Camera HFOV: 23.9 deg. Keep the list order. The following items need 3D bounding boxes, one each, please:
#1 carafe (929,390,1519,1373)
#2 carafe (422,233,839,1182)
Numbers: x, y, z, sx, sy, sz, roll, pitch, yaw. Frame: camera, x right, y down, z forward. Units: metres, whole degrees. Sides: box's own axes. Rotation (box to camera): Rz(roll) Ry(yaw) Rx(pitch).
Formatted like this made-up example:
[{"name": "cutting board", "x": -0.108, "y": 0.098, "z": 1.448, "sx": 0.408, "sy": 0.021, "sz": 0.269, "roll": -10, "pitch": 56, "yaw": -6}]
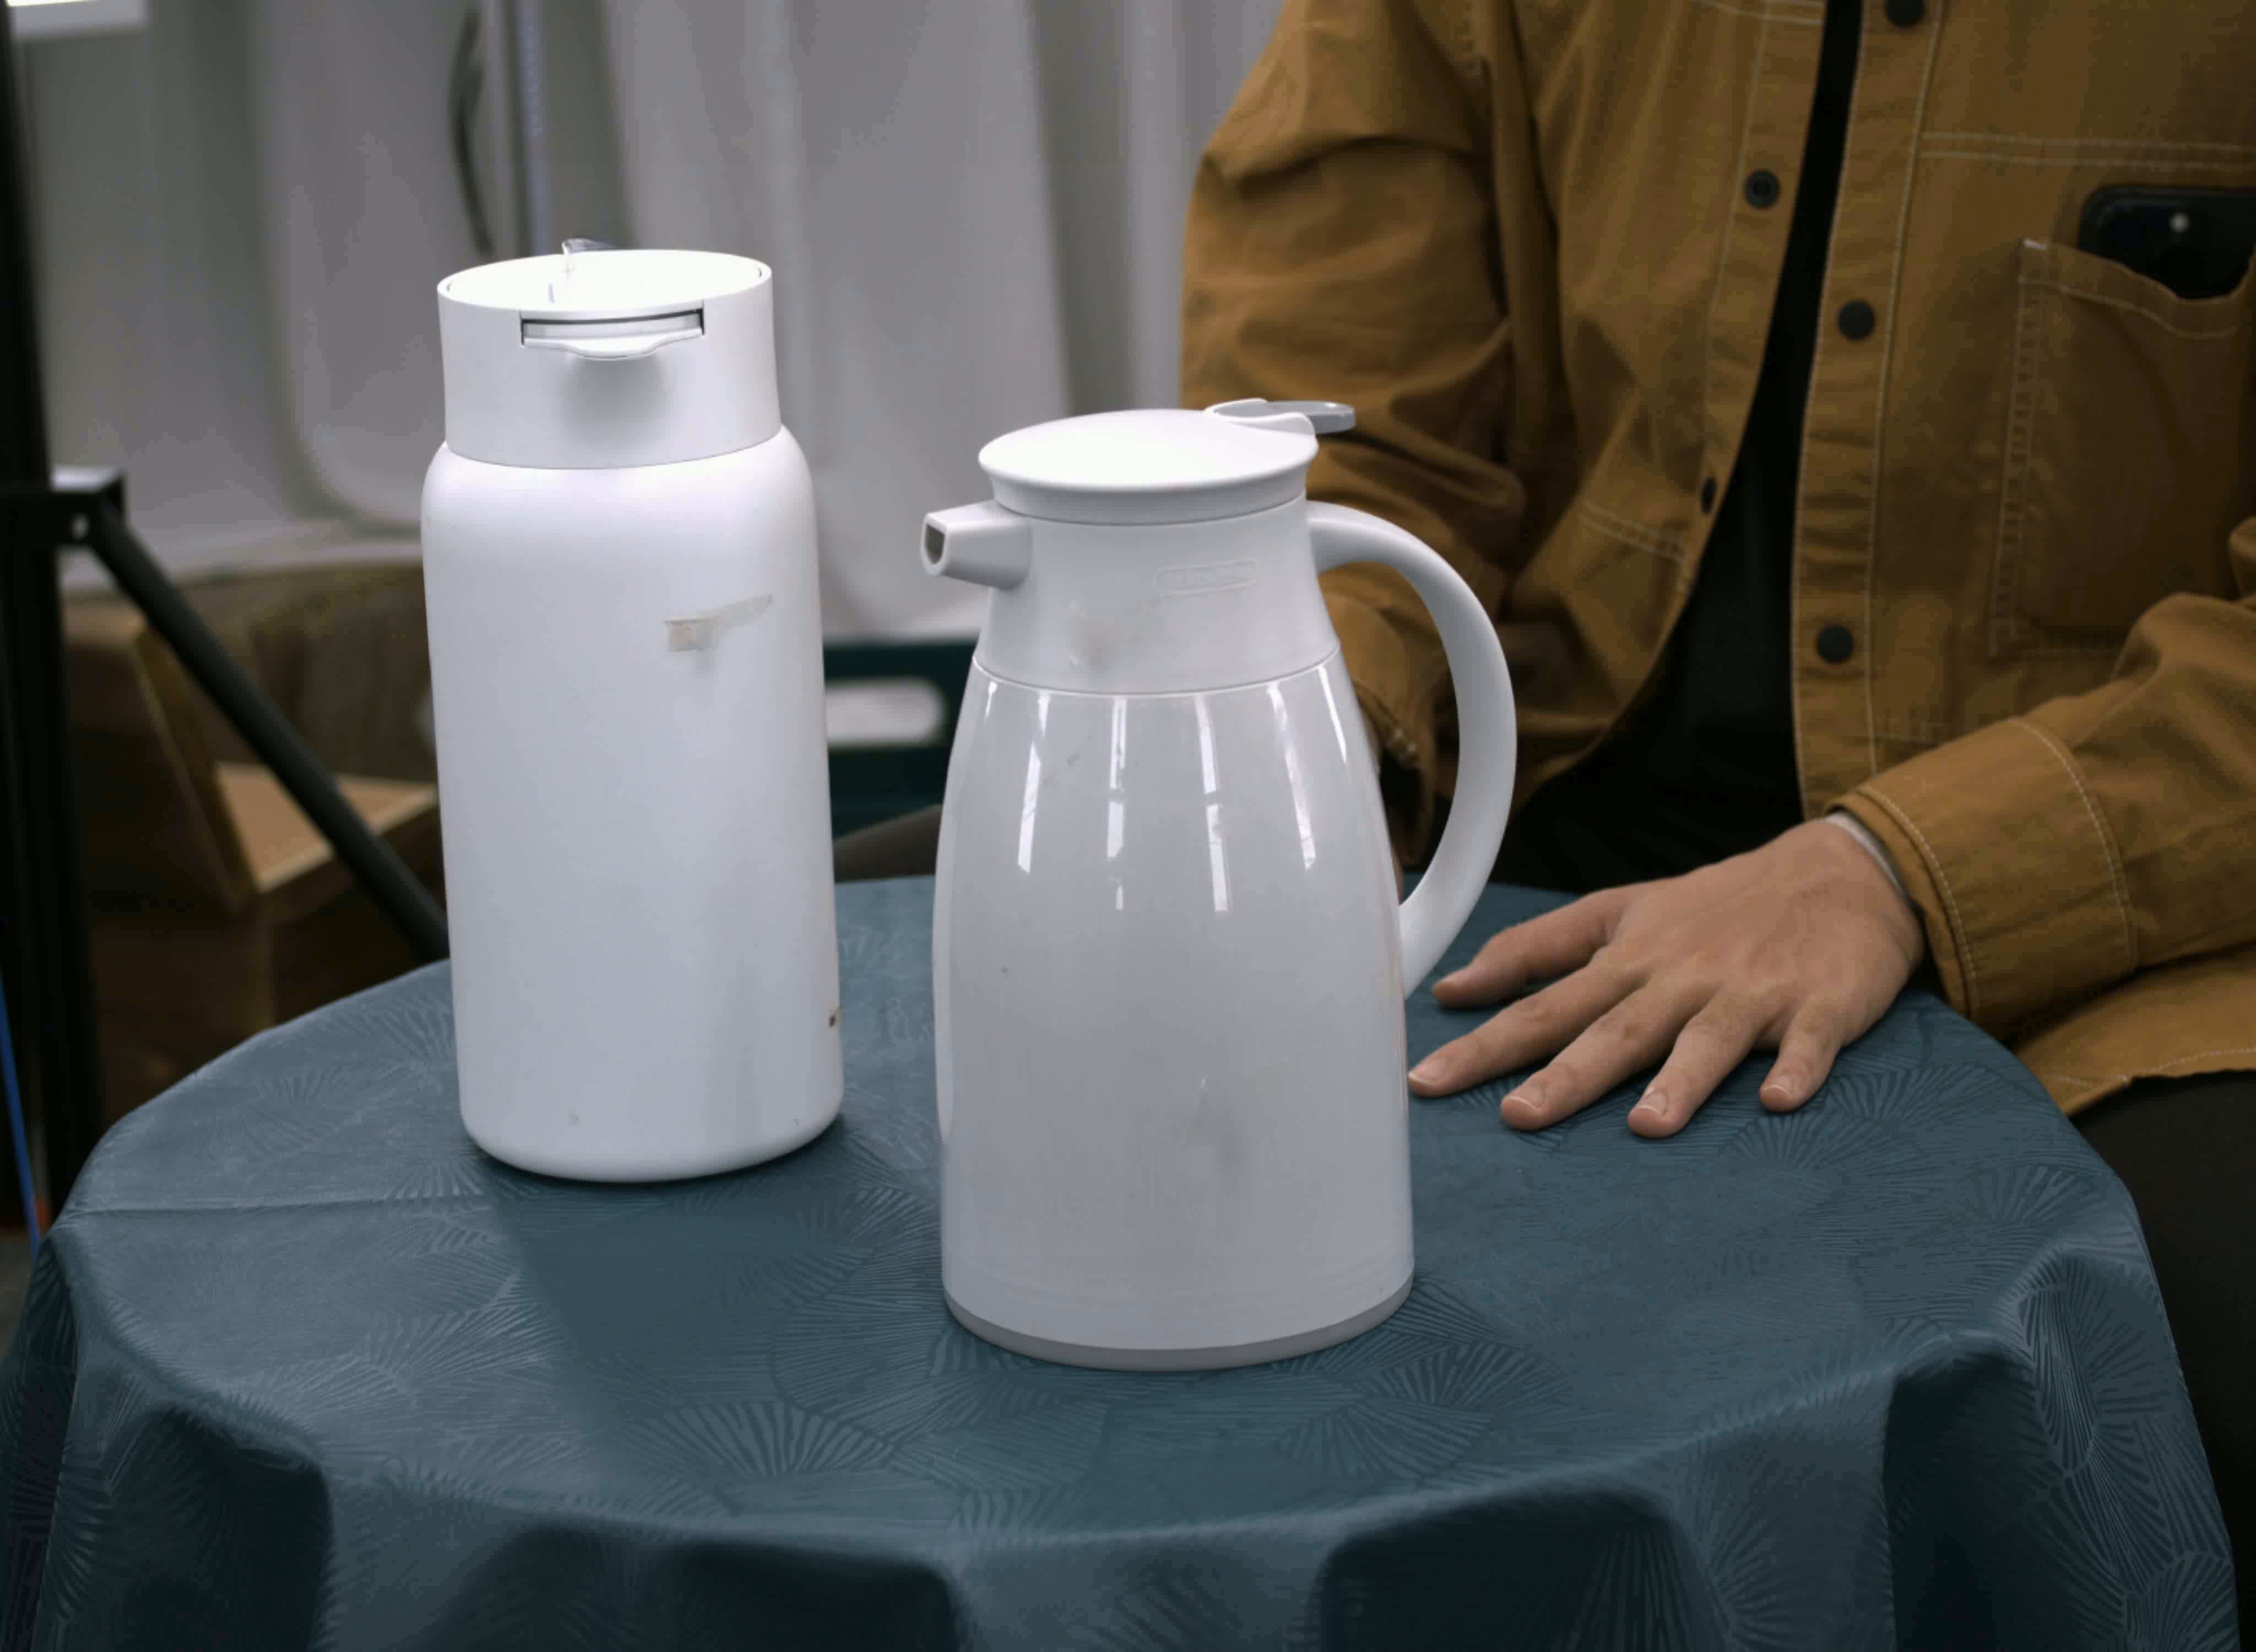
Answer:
[{"name": "carafe", "x": 0.028, "y": 0.007, "z": 1.453, "sx": 0.164, "sy": 0.248, "sz": 0.135, "roll": -7, "pitch": 16, "yaw": -19}, {"name": "carafe", "x": -0.153, "y": -0.040, "z": 1.614, "sx": 0.122, "sy": 0.269, "sz": 0.174, "roll": -6, "pitch": 15, "yaw": -7}]
